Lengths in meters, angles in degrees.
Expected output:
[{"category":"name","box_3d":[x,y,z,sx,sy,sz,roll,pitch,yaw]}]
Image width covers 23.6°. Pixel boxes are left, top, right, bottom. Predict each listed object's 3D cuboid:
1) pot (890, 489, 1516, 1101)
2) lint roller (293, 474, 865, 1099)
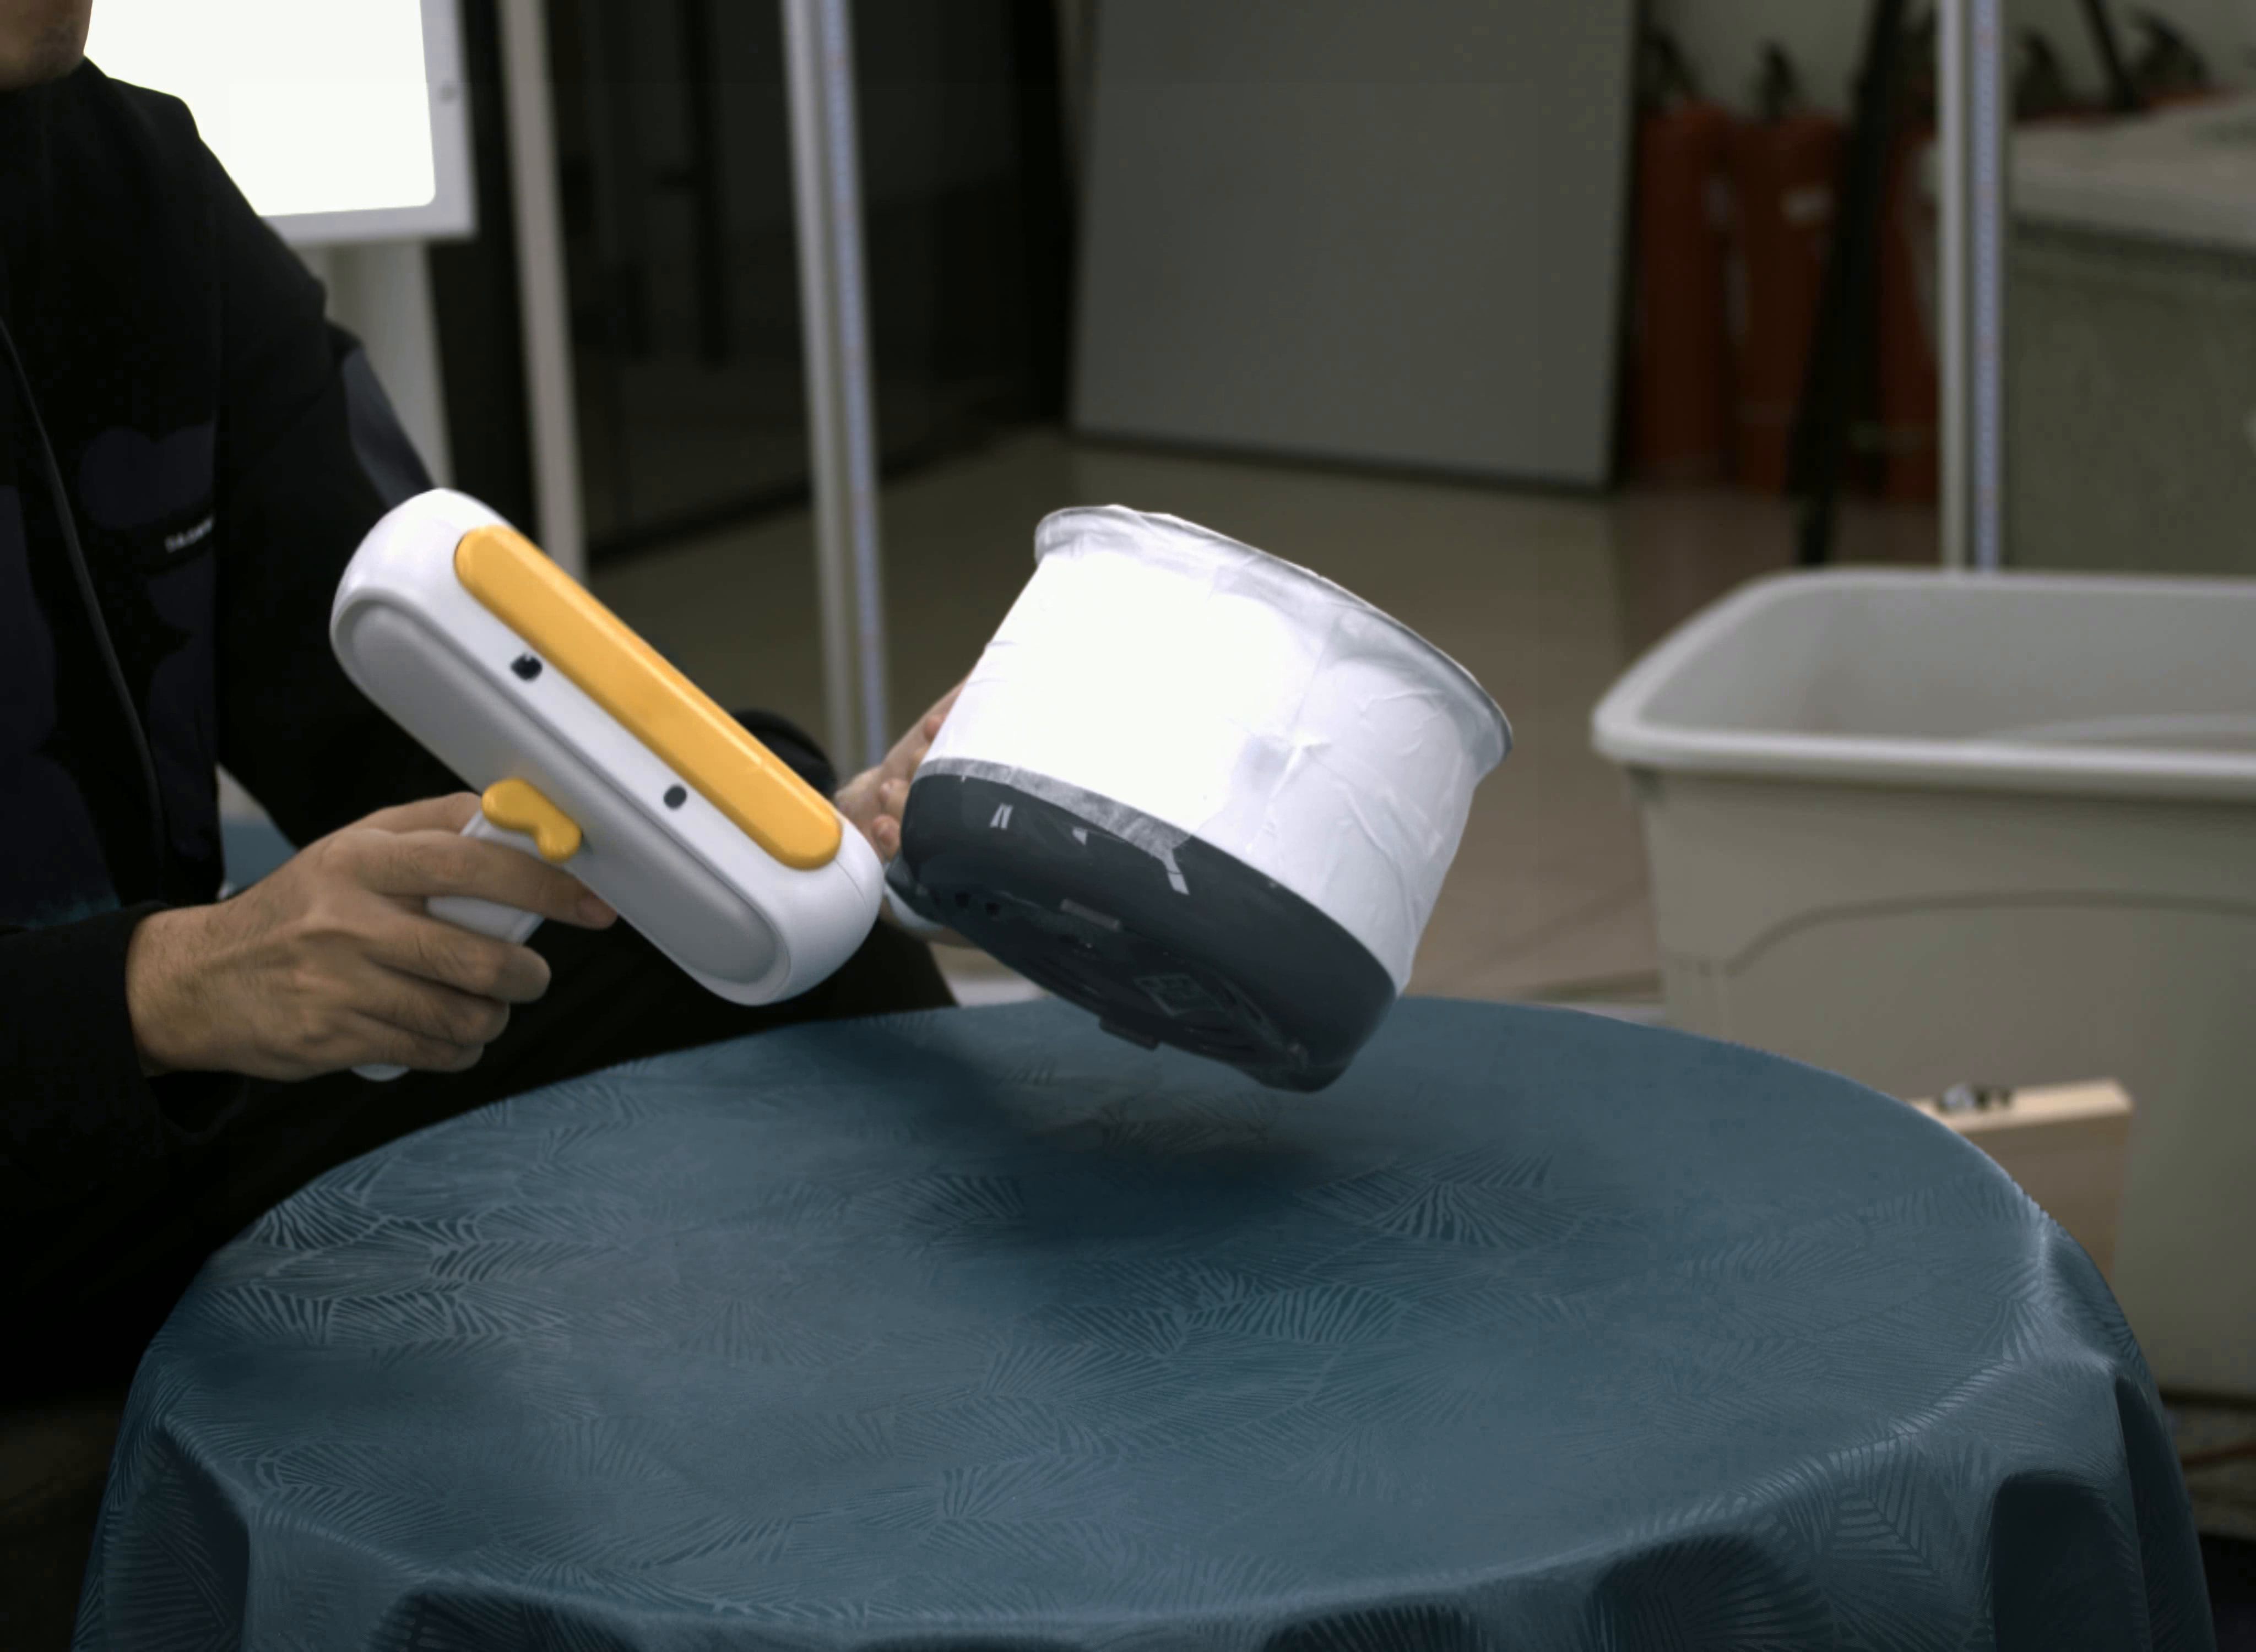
[{"category":"pot","box_3d":[0.007,-0.010,1.812,0.176,0.137,0.236,37,-17,-30]},{"category":"lint roller","box_3d":[-0.191,0.010,1.655,0.192,0.194,0.074,35,45,-2]}]
